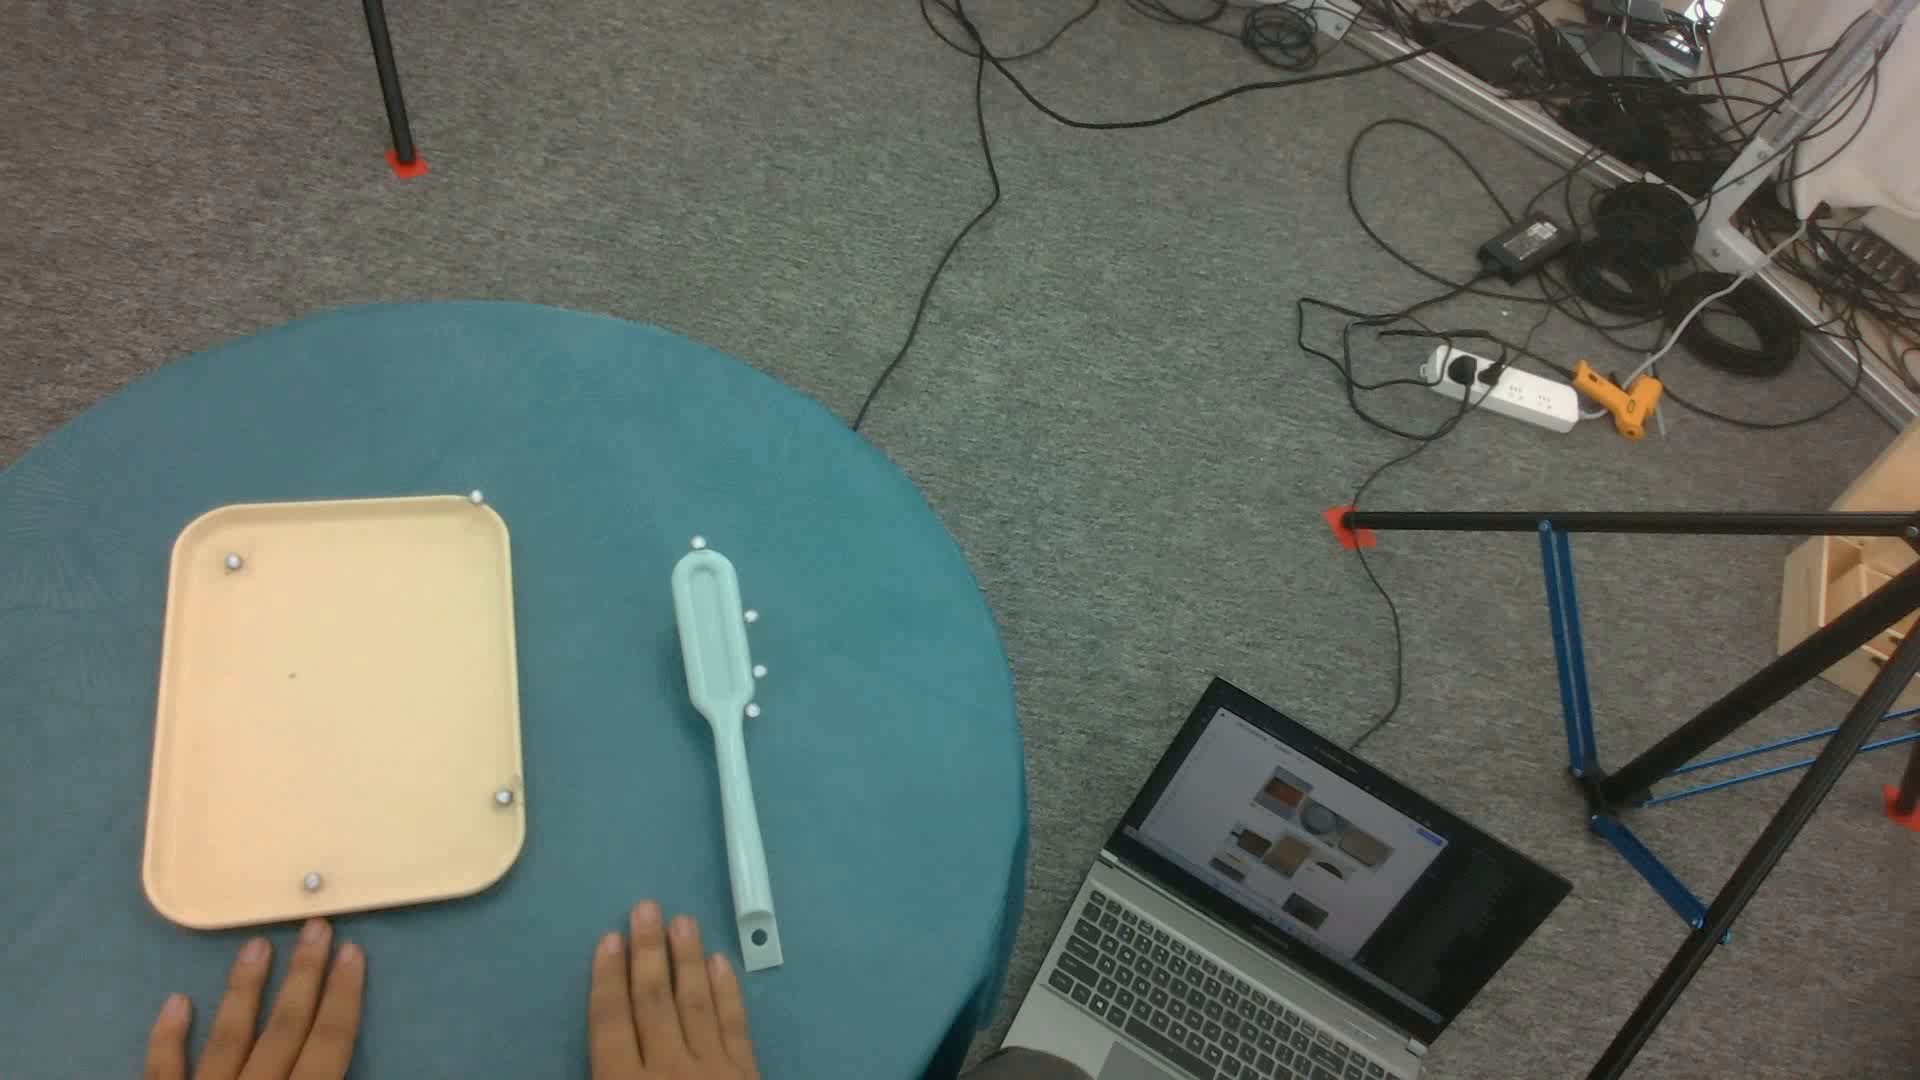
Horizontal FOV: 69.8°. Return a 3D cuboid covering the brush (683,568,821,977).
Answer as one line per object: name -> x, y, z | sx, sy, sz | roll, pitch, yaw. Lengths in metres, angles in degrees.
brush -> -0.112, 0.124, 0.759 | 0.038, 0.049, 0.229 | -15, 67, -8

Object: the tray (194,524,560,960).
tray -> -0.311, 0.098, 0.737 | 0.171, 0.017, 0.240 | -6, 57, -17
